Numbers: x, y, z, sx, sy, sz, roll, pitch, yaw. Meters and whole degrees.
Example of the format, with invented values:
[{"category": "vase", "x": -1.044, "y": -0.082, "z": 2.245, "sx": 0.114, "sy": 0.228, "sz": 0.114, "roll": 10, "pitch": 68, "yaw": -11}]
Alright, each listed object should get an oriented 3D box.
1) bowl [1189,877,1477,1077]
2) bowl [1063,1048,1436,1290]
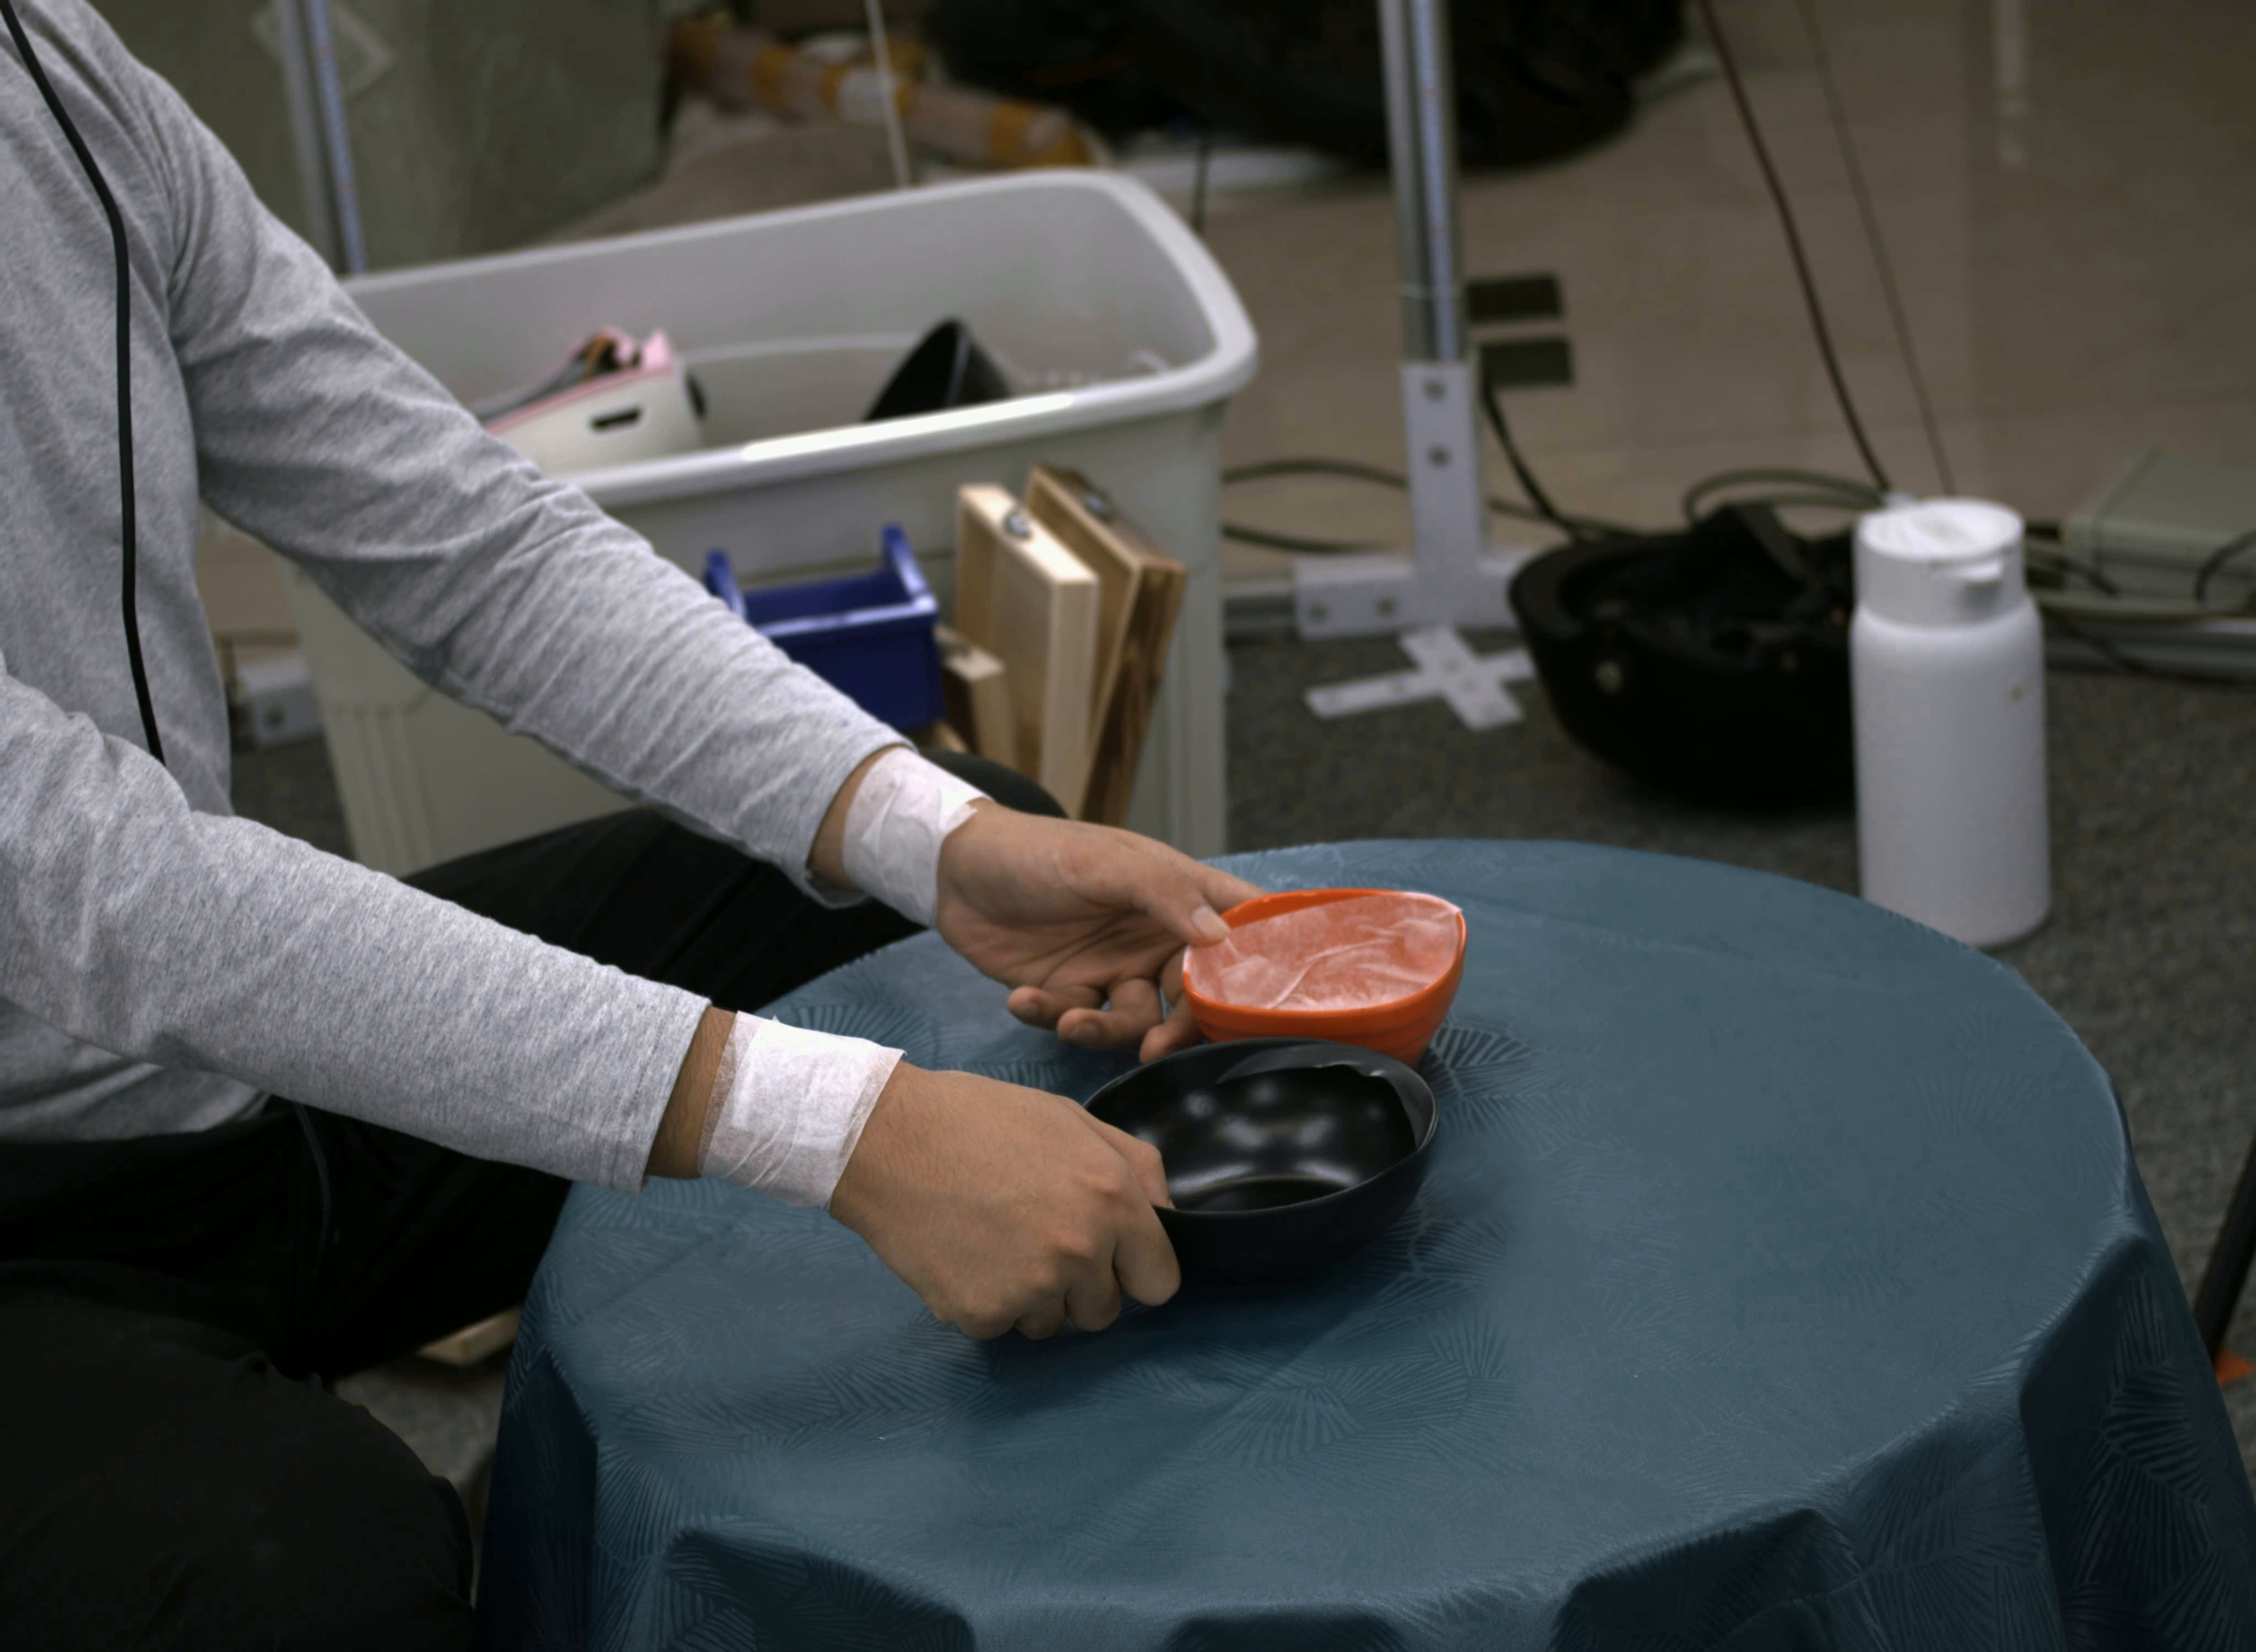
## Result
[{"category": "bowl", "x": 0.081, "y": 0.067, "z": 2.220, "sx": 0.119, "sy": 0.052, "sz": 0.117, "roll": -3, "pitch": 27, "yaw": 2}, {"category": "bowl", "x": 0.048, "y": 0.134, "z": 2.099, "sx": 0.140, "sy": 0.050, "sz": 0.138, "roll": -8, "pitch": 22, "yaw": 4}]
